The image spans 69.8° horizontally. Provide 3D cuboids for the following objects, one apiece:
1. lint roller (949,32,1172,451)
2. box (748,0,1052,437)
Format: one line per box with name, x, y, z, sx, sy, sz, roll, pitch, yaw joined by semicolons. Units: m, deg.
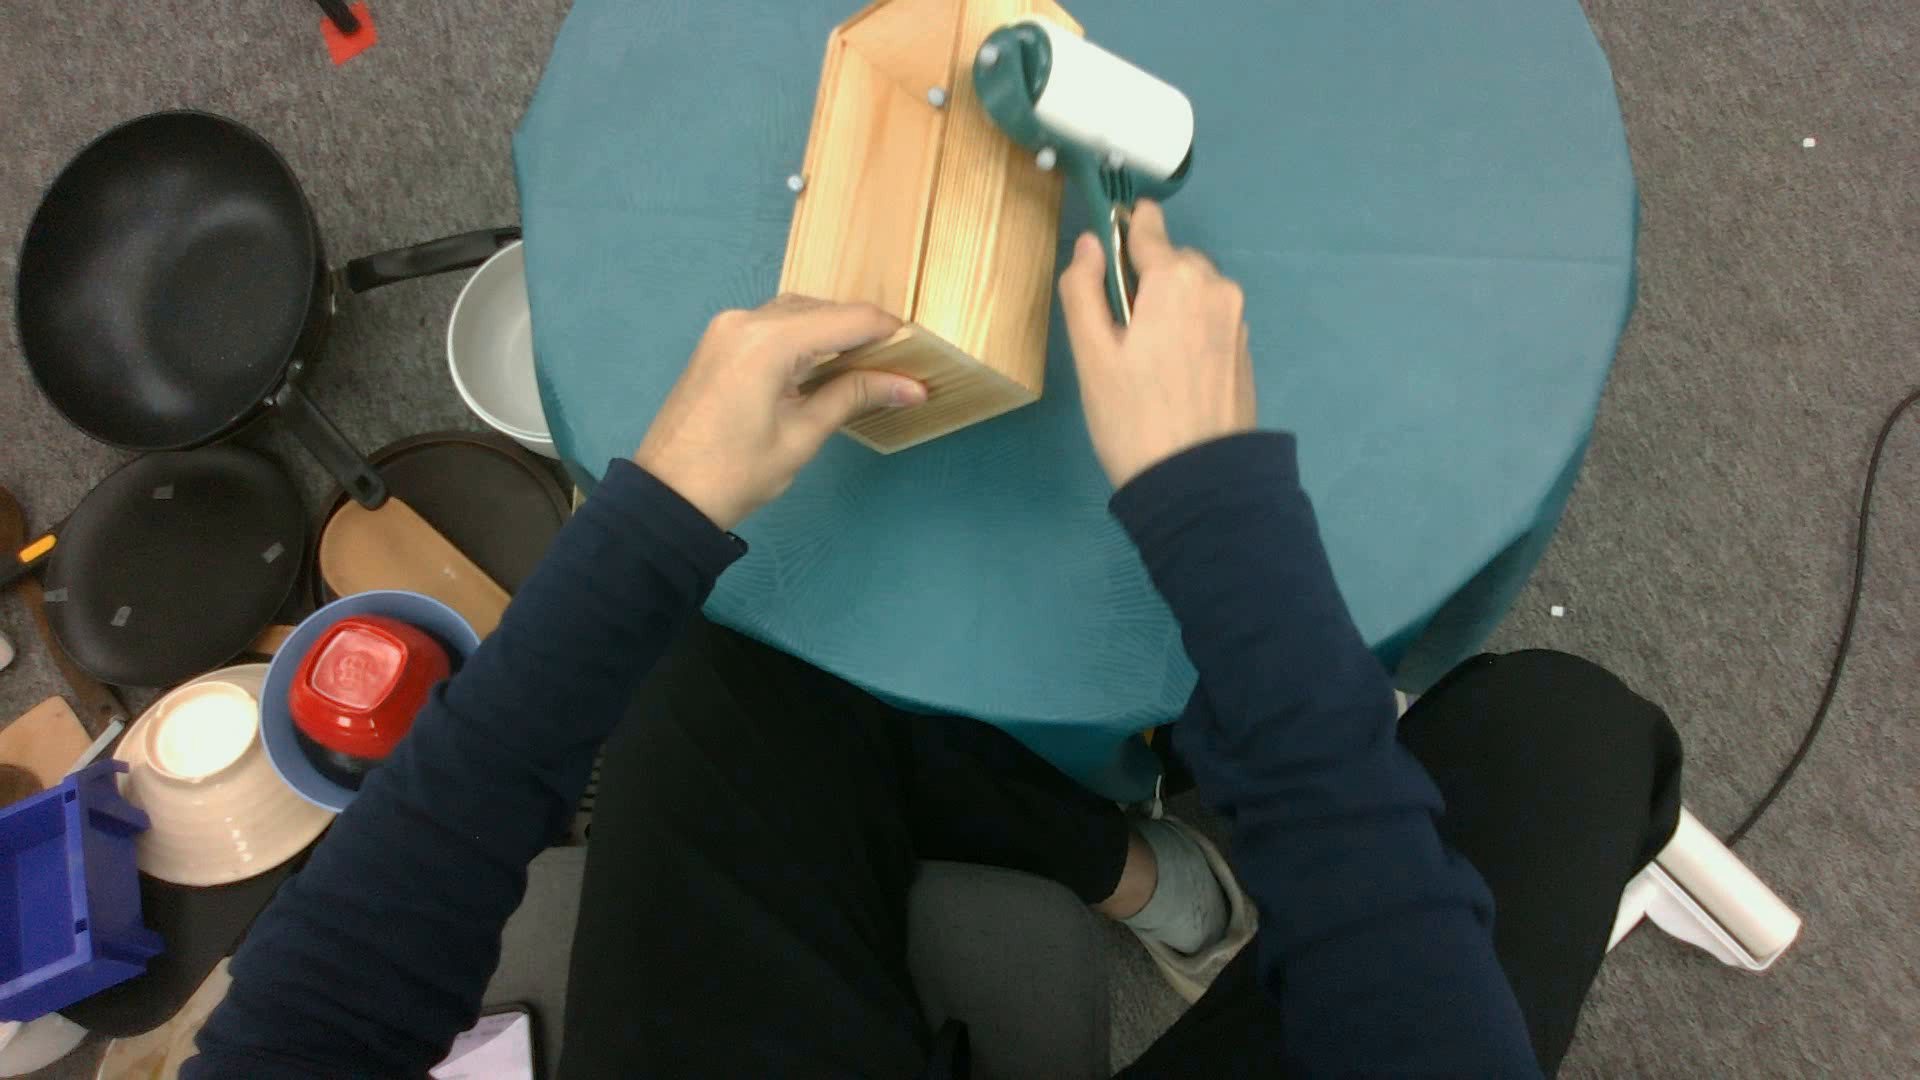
lint roller;0.065;-0.130;0.611;0.048;0.134;0.180;-31;67;38
box;-0.025;-0.170;0.660;0.107;0.080;0.212;-17;60;41
